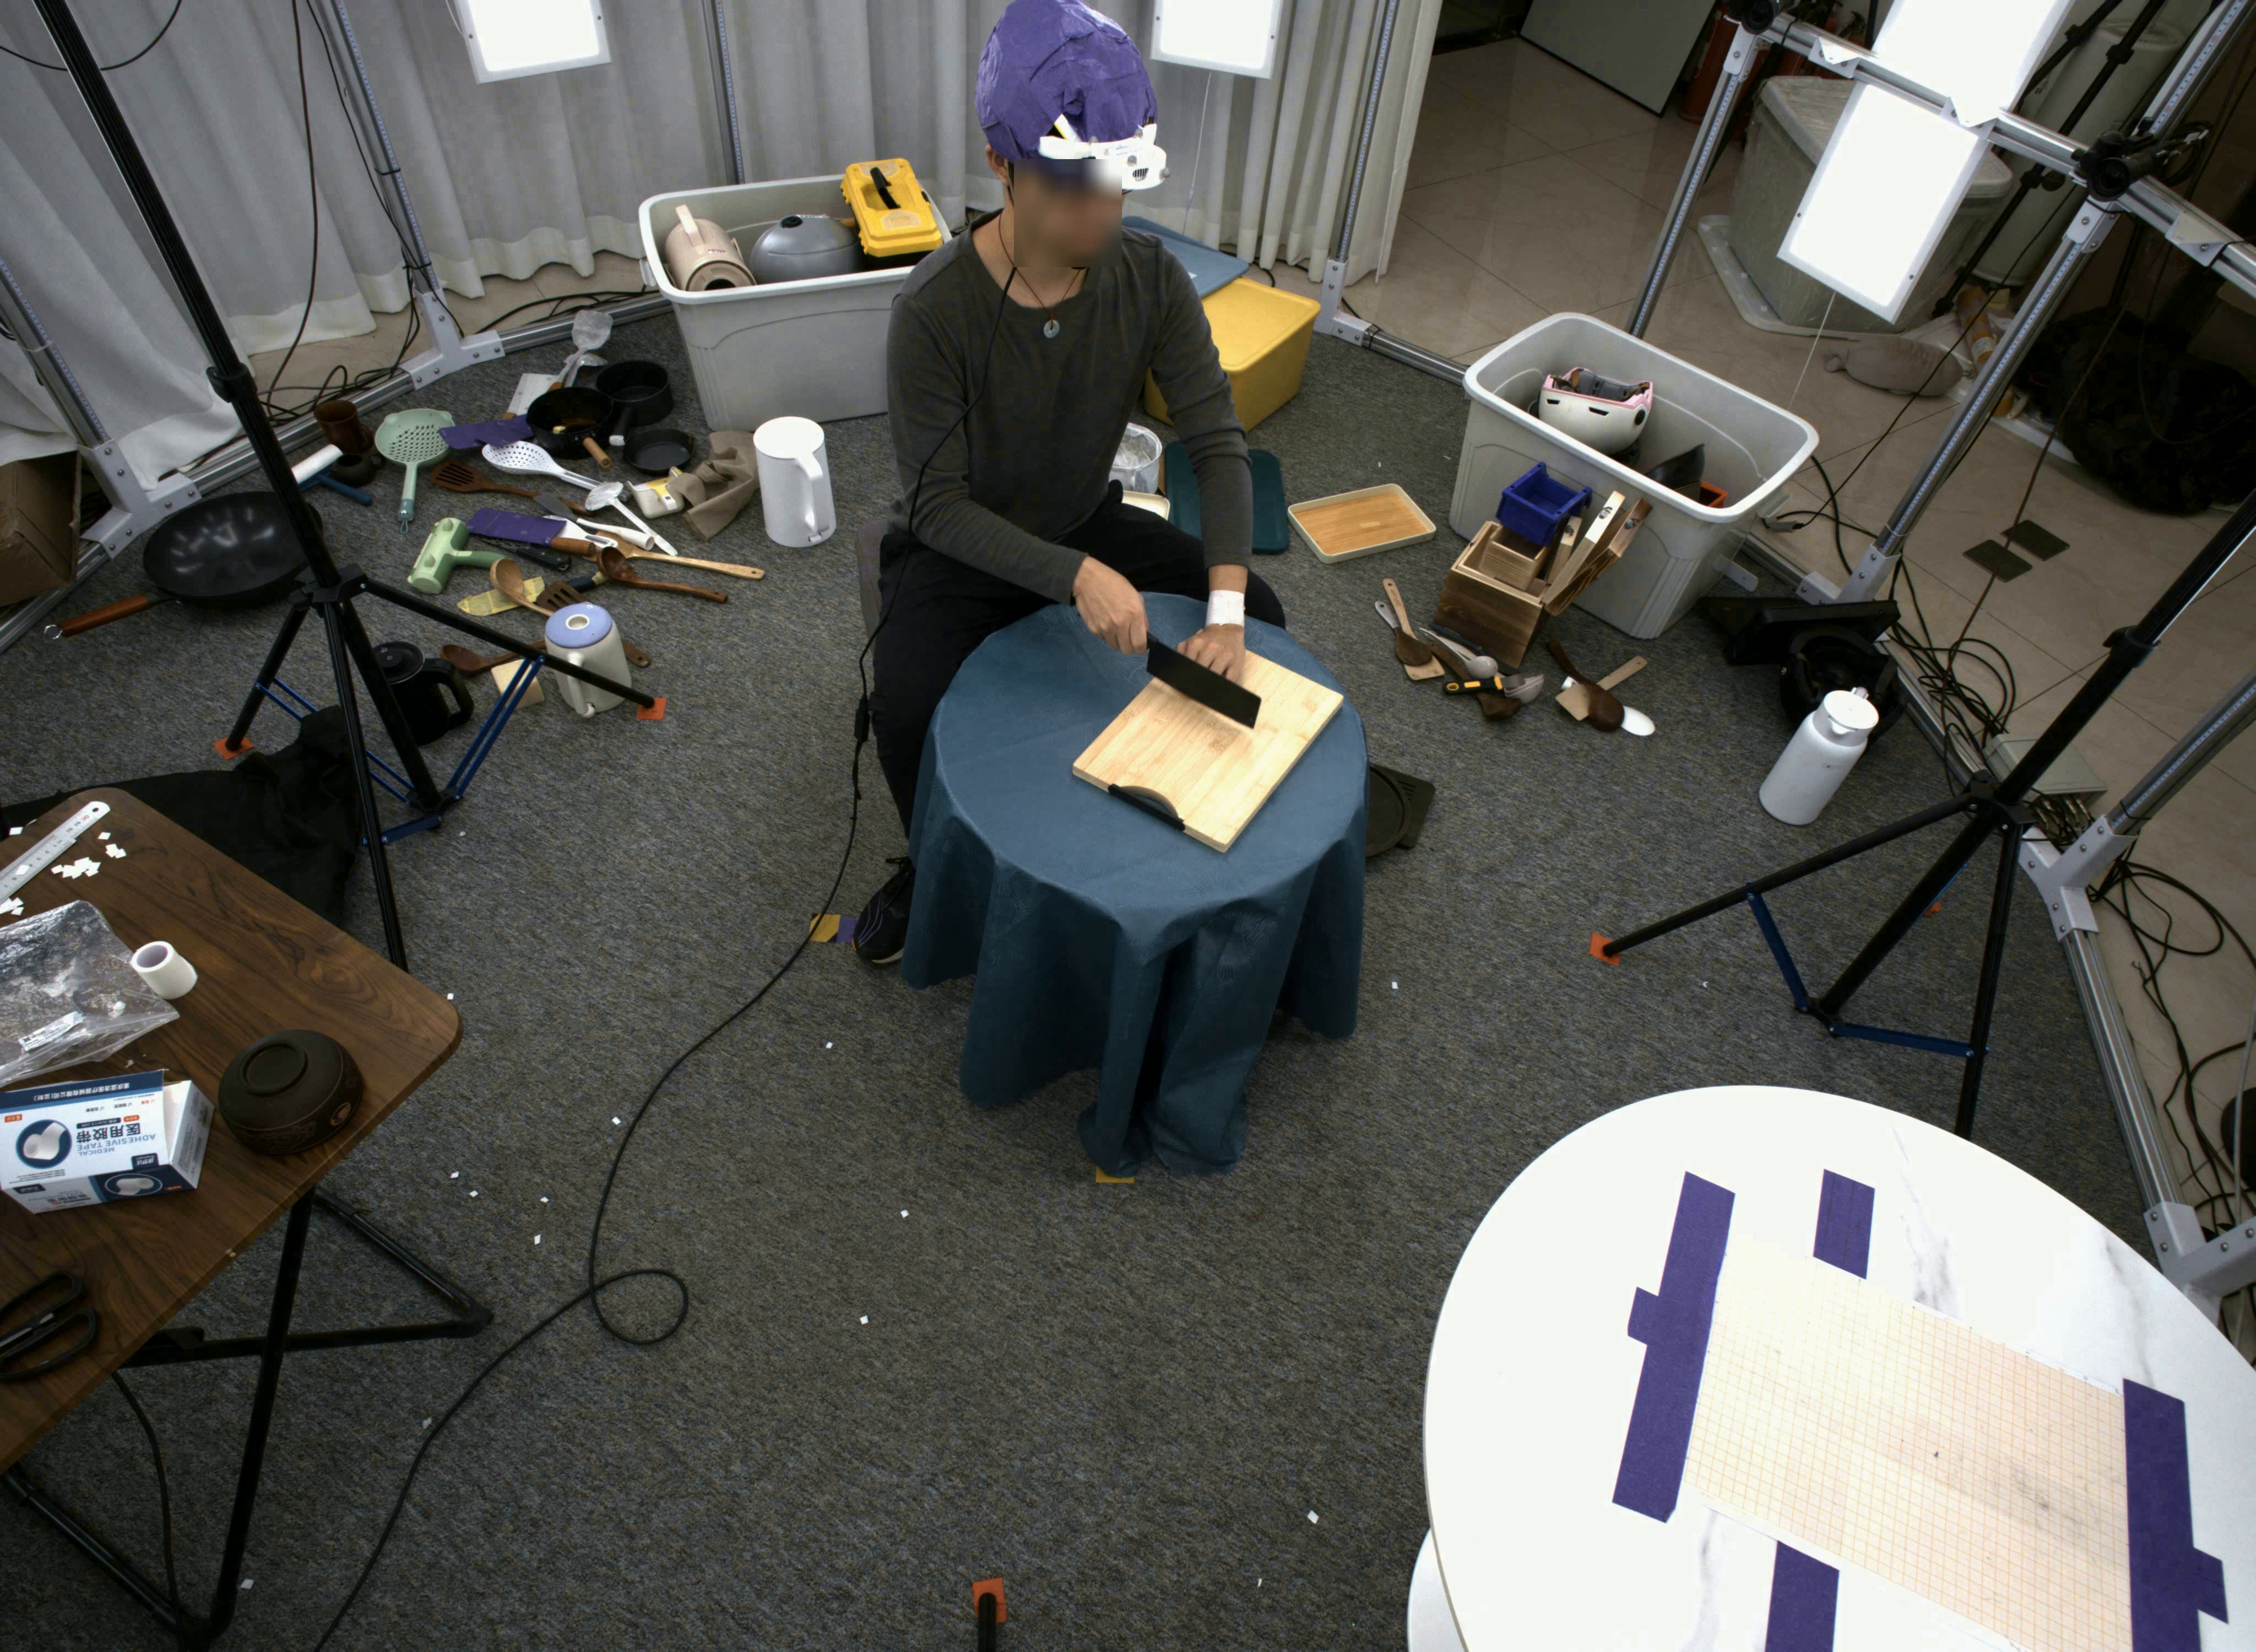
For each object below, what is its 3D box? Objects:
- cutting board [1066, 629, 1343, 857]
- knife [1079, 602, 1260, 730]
[{"bbox_3d":[0.113,-0.125,1.773,0.253,0.023,0.354,27,52,19],"label":"cutting board"},{"bbox_3d":[0.055,-0.227,1.786,0.305,0.079,0.021,35,52,16],"label":"knife"}]
